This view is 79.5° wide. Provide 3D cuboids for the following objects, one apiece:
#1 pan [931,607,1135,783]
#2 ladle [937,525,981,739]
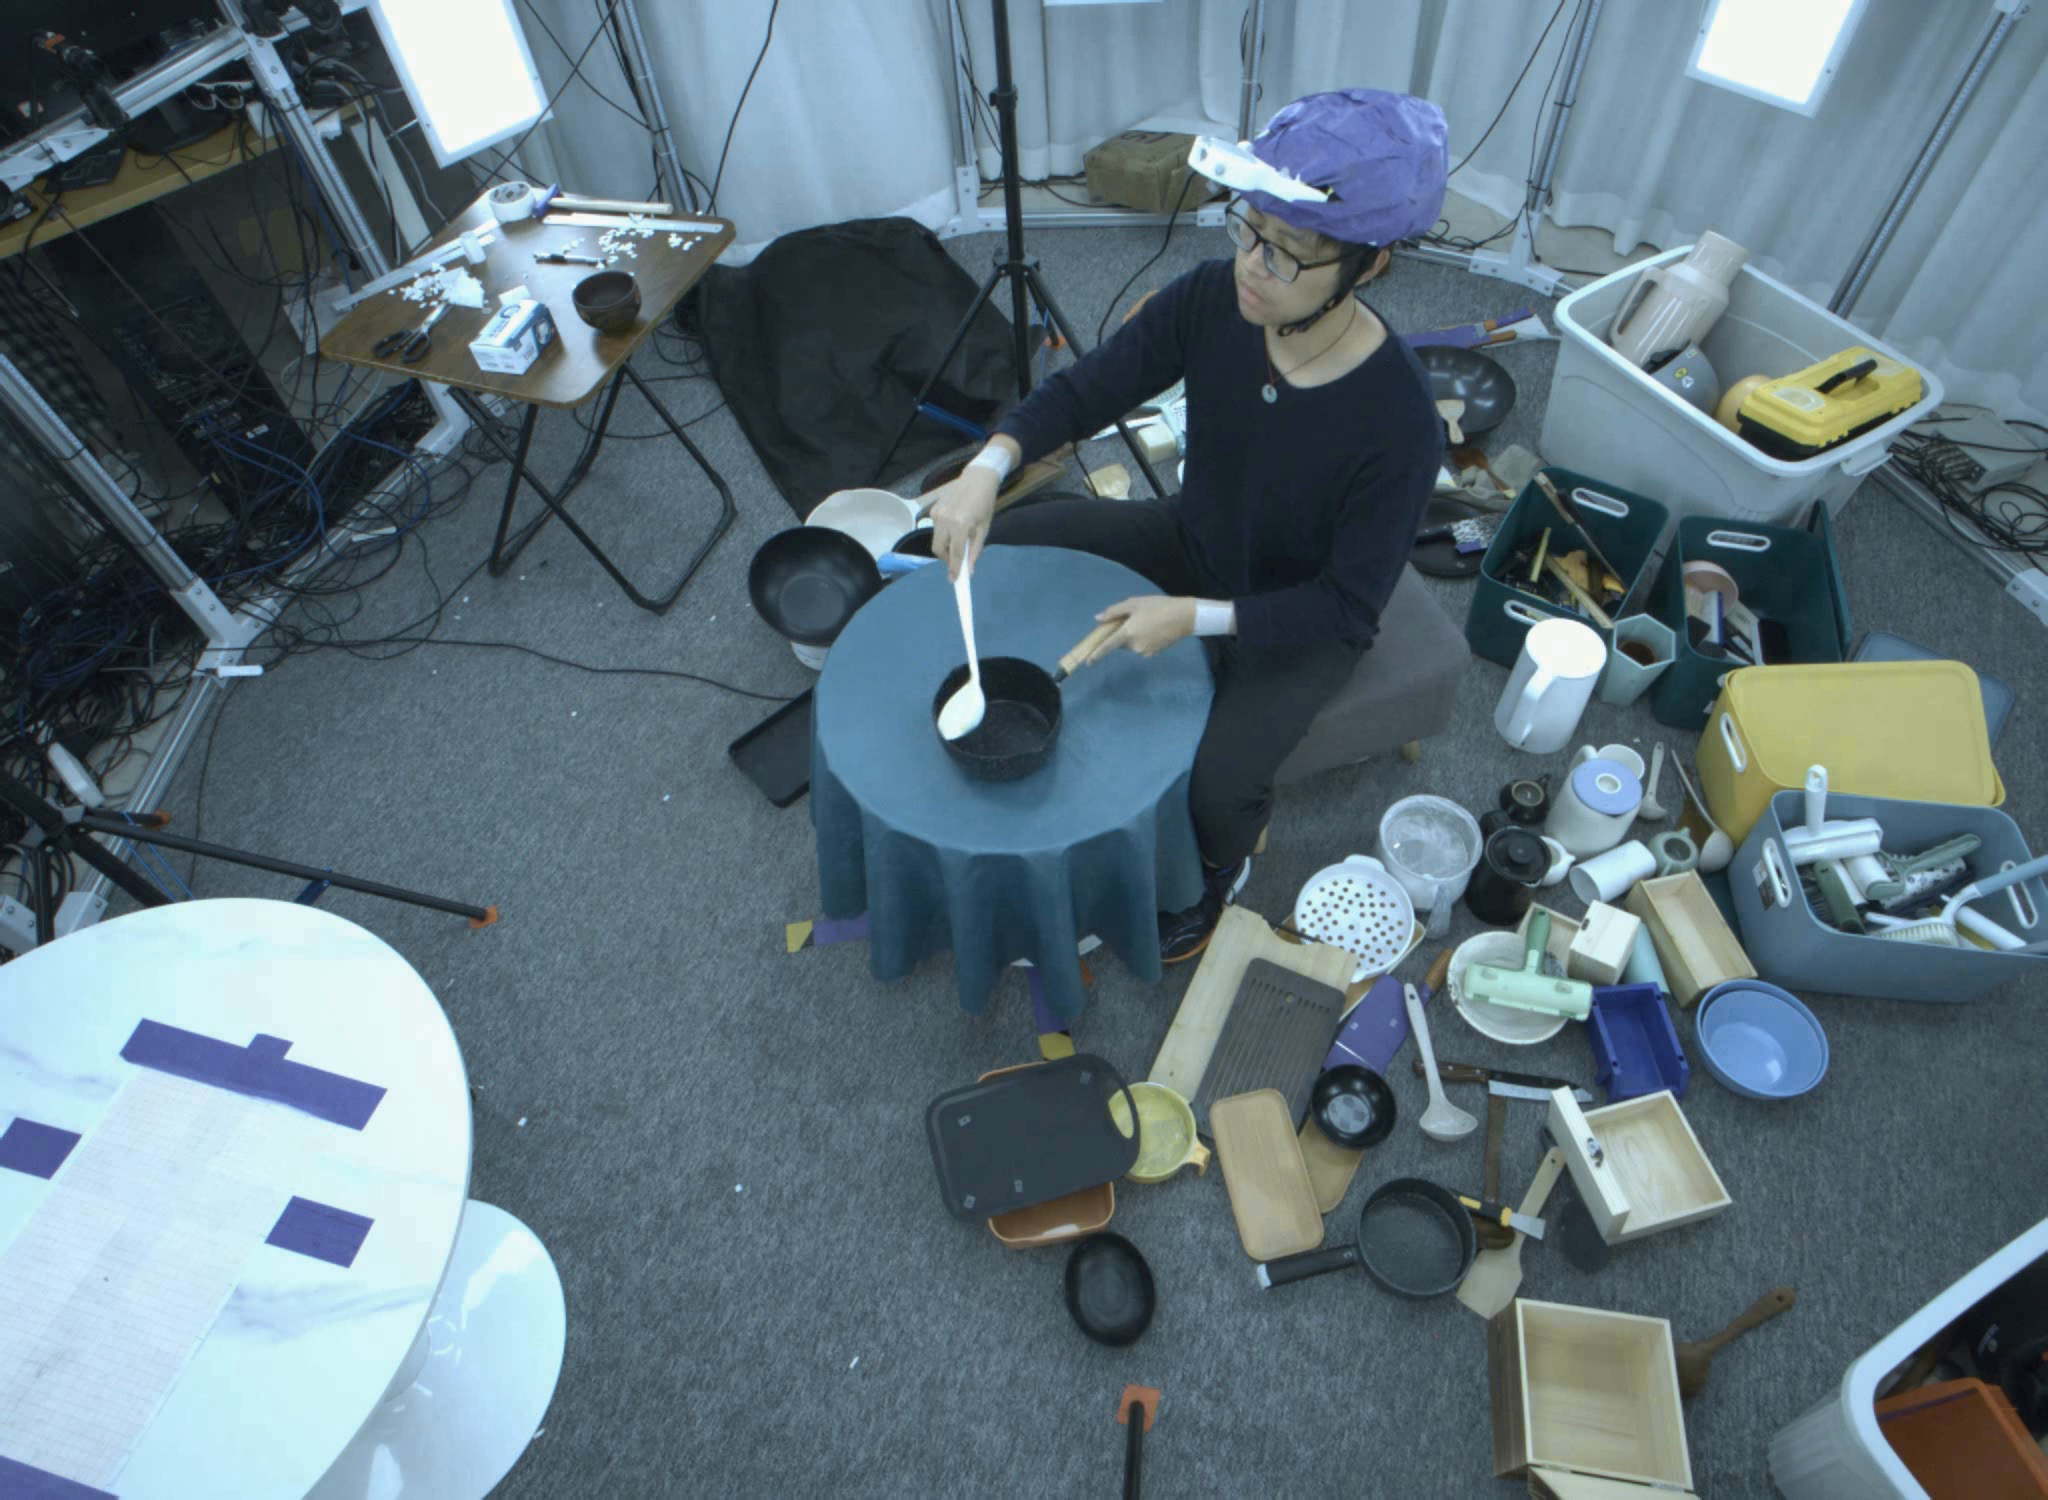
[{"bbox_3d":[0.025,-0.087,1.781,0.345,0.109,0.203,-36,59,-19],"label":"pan"},{"bbox_3d":[-0.102,-0.163,1.707,0.071,0.295,0.088,-11,17,-19],"label":"ladle"}]
